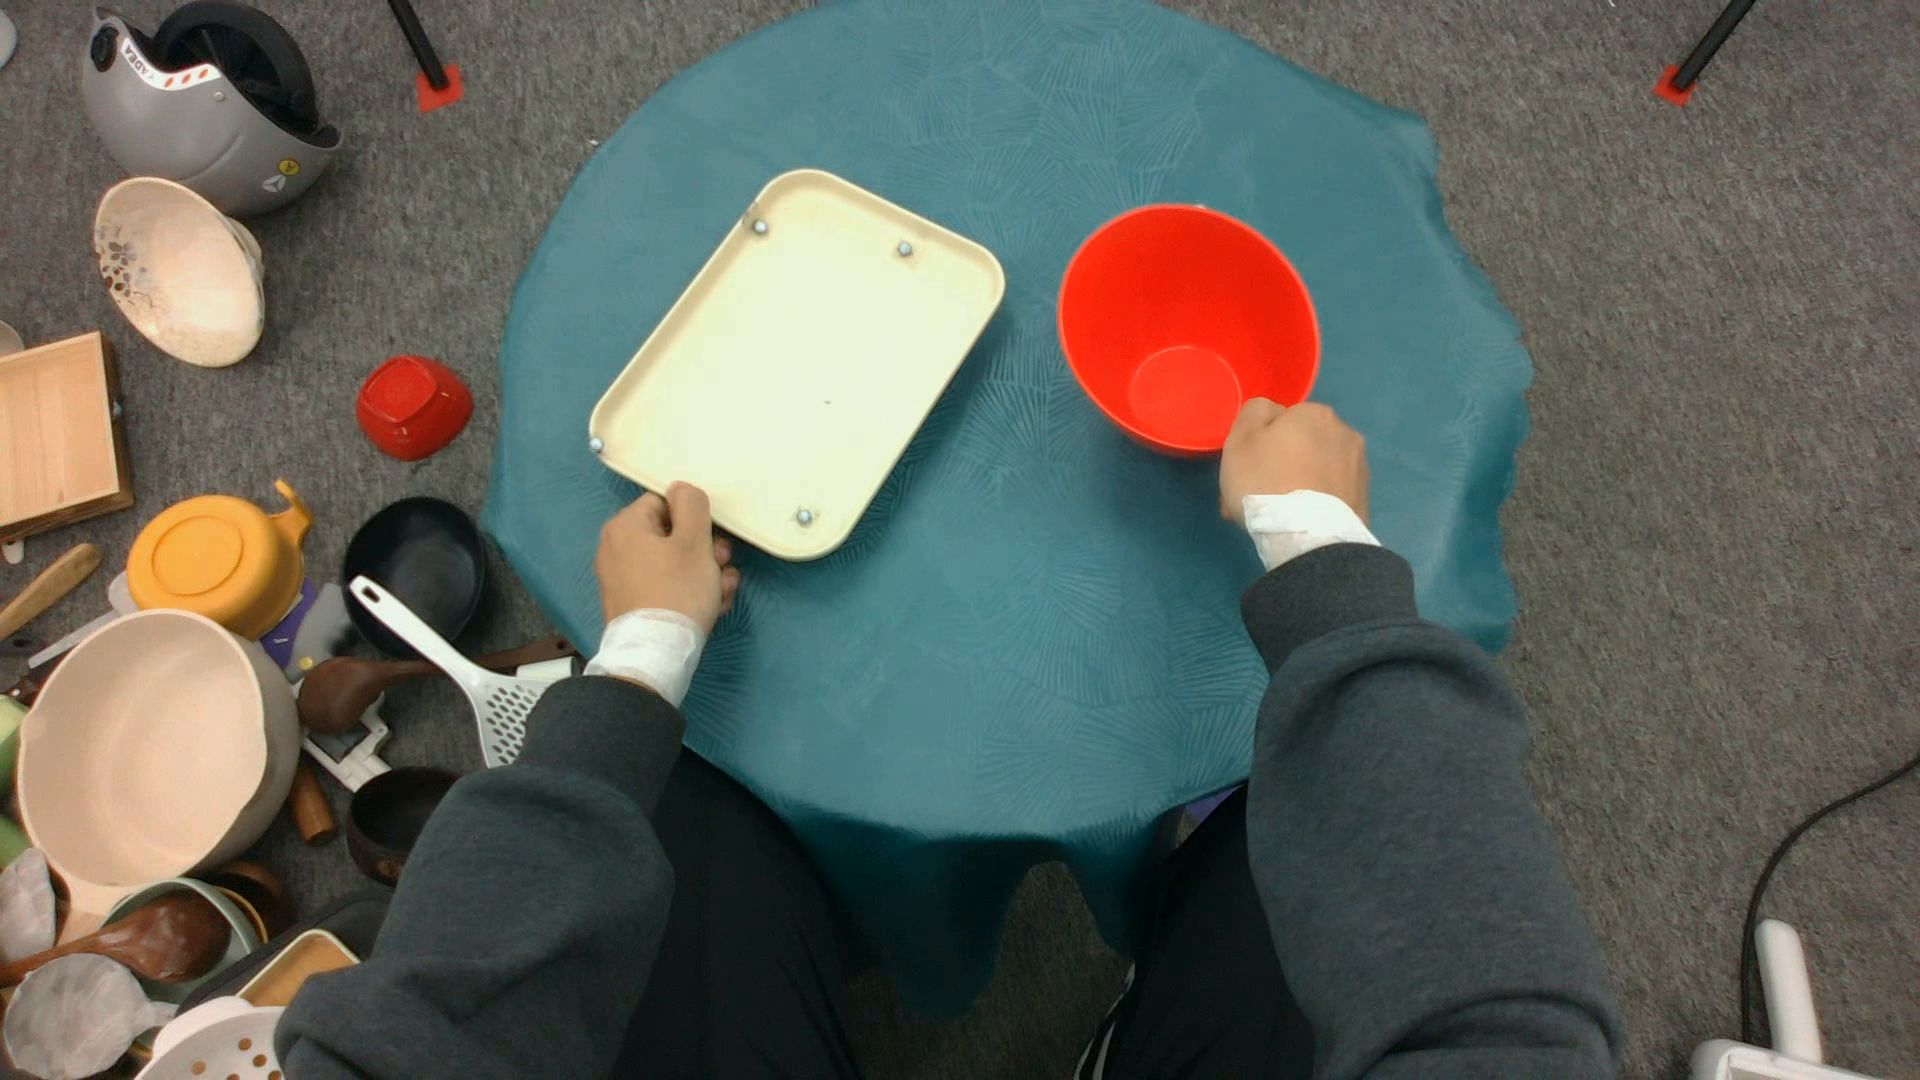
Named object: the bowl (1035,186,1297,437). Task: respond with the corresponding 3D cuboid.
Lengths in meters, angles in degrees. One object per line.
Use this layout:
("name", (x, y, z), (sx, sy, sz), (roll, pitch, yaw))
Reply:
("bowl", (0.114, -0.117, 0.793), (0.148, 0.104, 0.148), (0, 70, 0))

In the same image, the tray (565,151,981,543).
("tray", (-0.107, -0.119, 0.820), (0.171, 0.017, 0.240), (27, 68, 9))
